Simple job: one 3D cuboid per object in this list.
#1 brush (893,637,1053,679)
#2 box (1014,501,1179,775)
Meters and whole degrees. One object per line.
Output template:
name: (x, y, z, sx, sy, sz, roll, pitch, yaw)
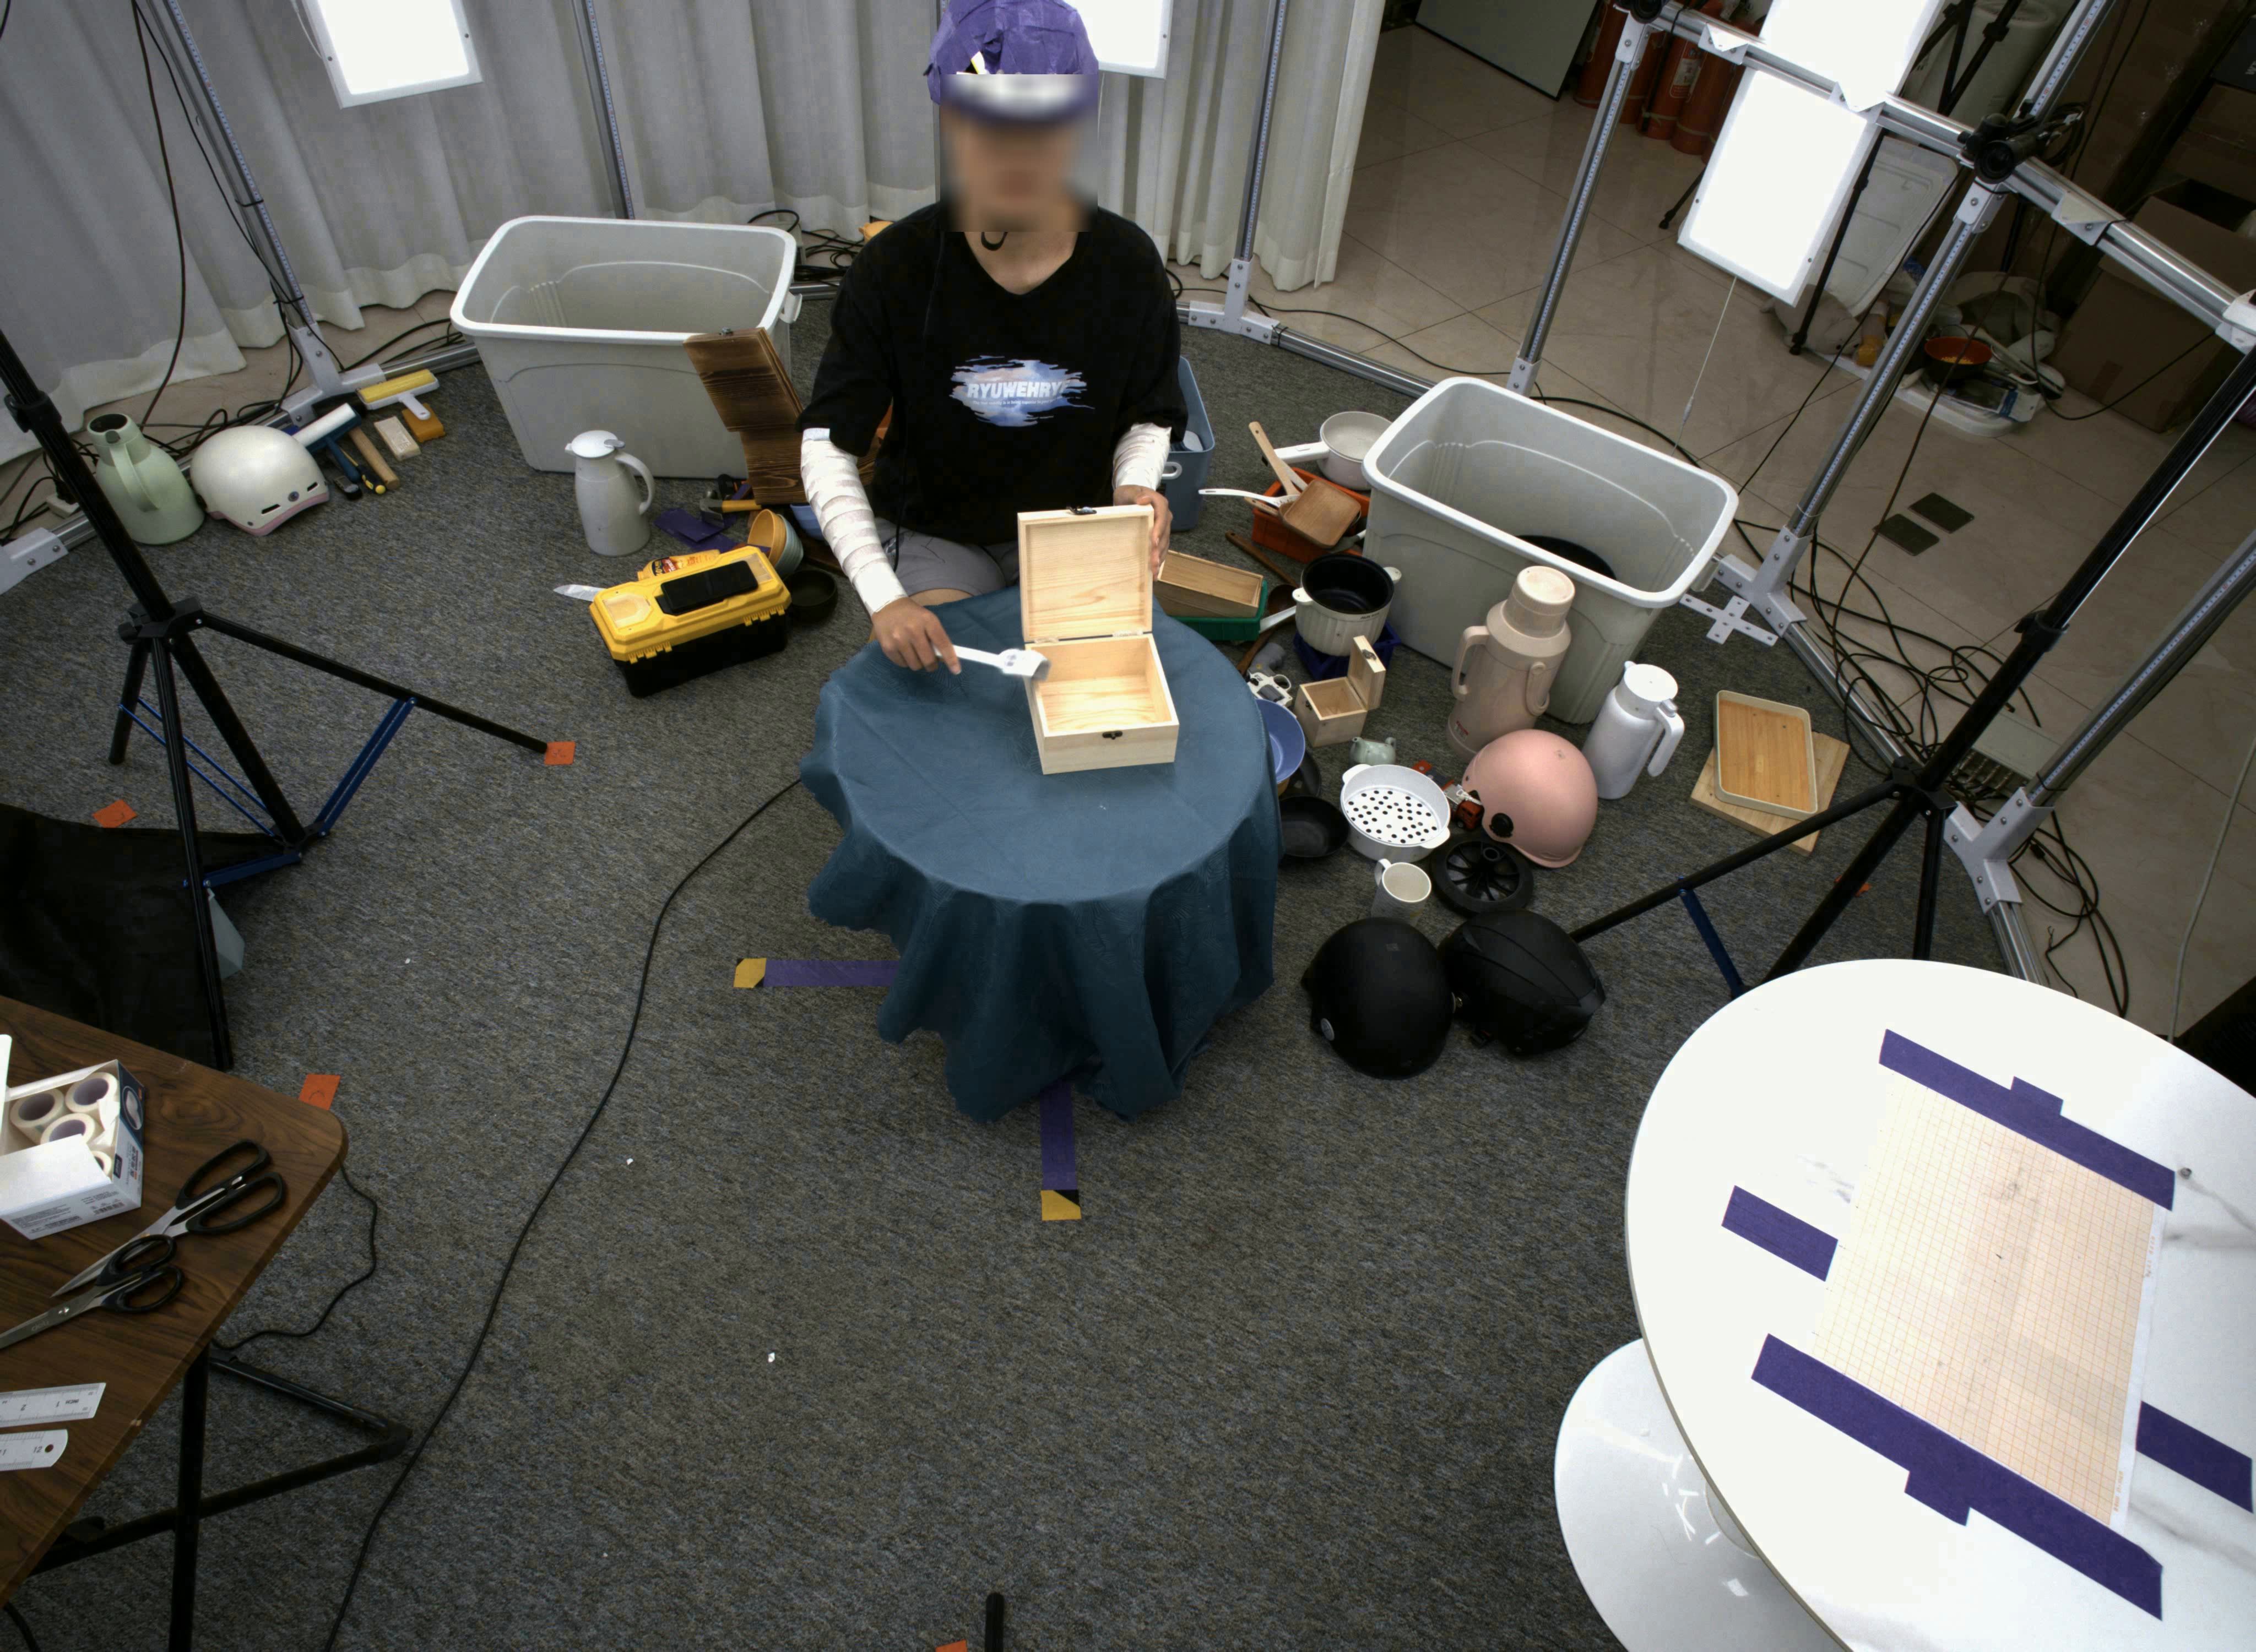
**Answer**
brush: (-0.213, -0.232, 1.766, 0.245, 0.049, 0.034, 9, 79, 27)
box: (-0.042, -0.252, 1.729, 0.181, 0.247, 0.272, -7, 50, -8)
